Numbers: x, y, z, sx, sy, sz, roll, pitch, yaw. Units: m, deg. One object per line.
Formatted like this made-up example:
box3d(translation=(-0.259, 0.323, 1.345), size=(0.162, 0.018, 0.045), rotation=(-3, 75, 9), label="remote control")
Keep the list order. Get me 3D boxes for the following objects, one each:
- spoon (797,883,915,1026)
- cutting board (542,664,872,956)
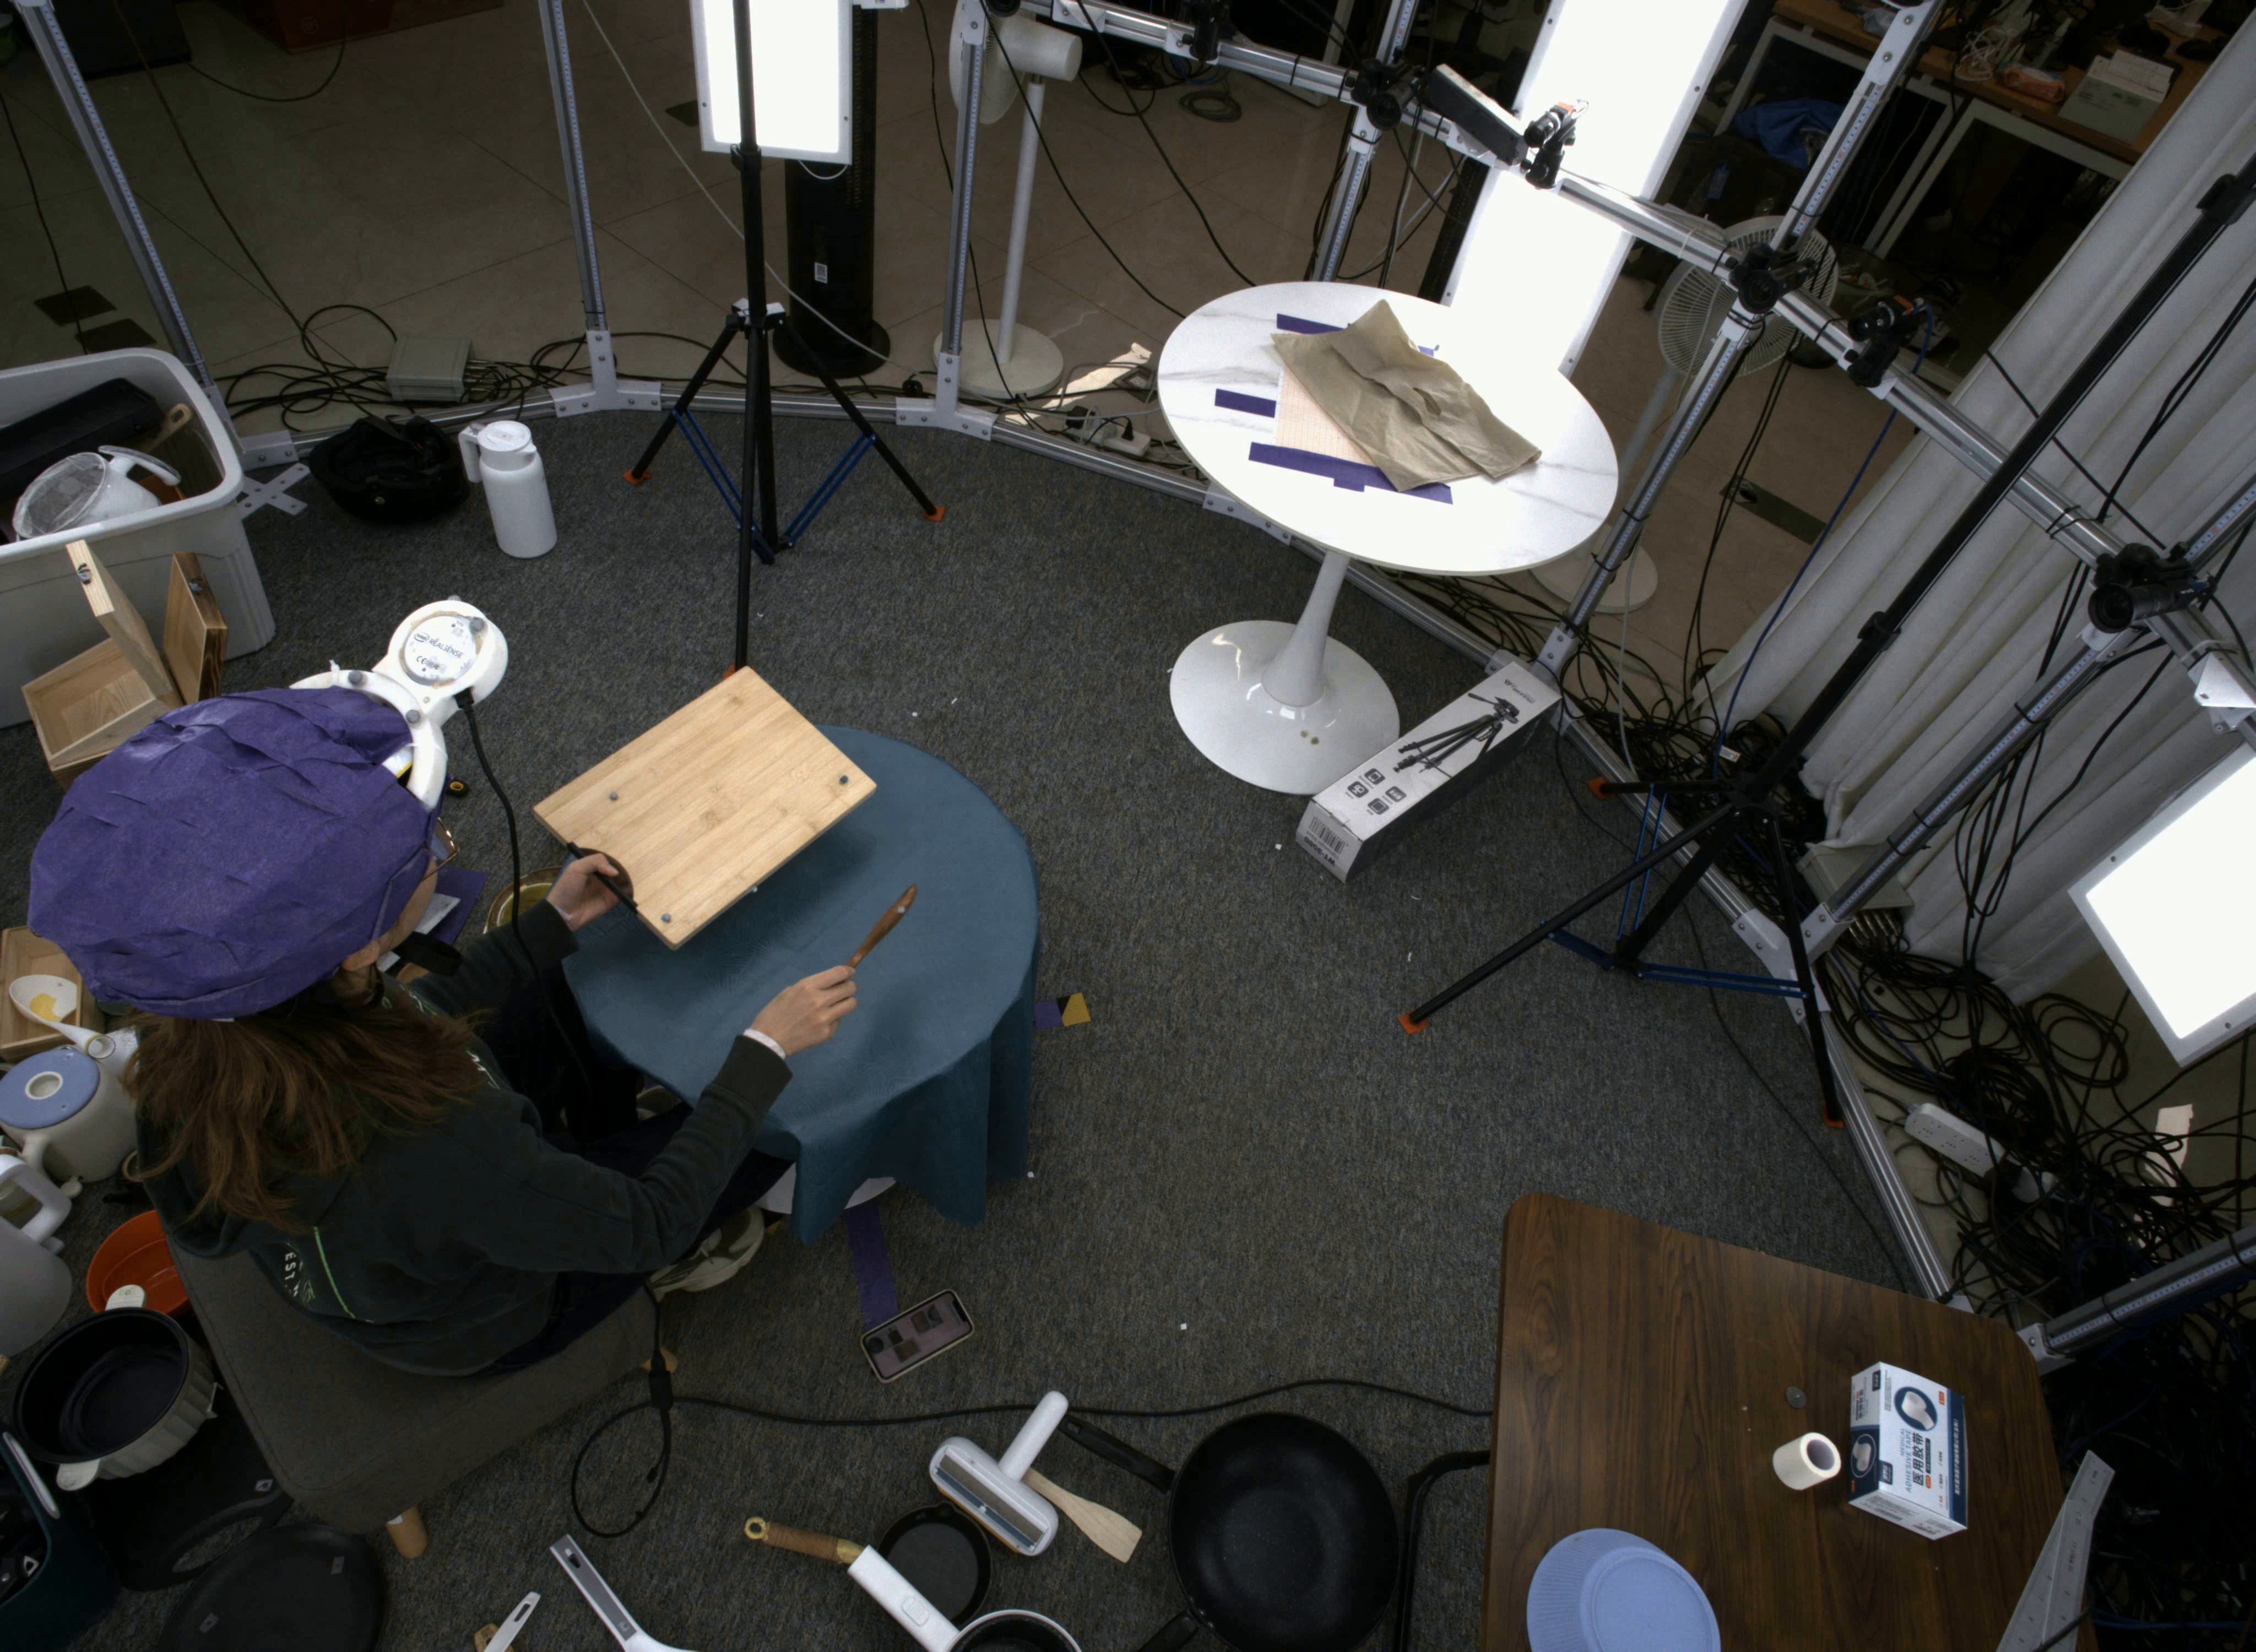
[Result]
box3d(translation=(-0.307, 0.143, 1.485), size=(0.017, 0.075, 0.215), rotation=(43, 53, -8), label="spoon")
box3d(translation=(-0.517, -0.031, 1.584), size=(0.249, 0.024, 0.348), rotation=(42, 53, 3), label="cutting board")
